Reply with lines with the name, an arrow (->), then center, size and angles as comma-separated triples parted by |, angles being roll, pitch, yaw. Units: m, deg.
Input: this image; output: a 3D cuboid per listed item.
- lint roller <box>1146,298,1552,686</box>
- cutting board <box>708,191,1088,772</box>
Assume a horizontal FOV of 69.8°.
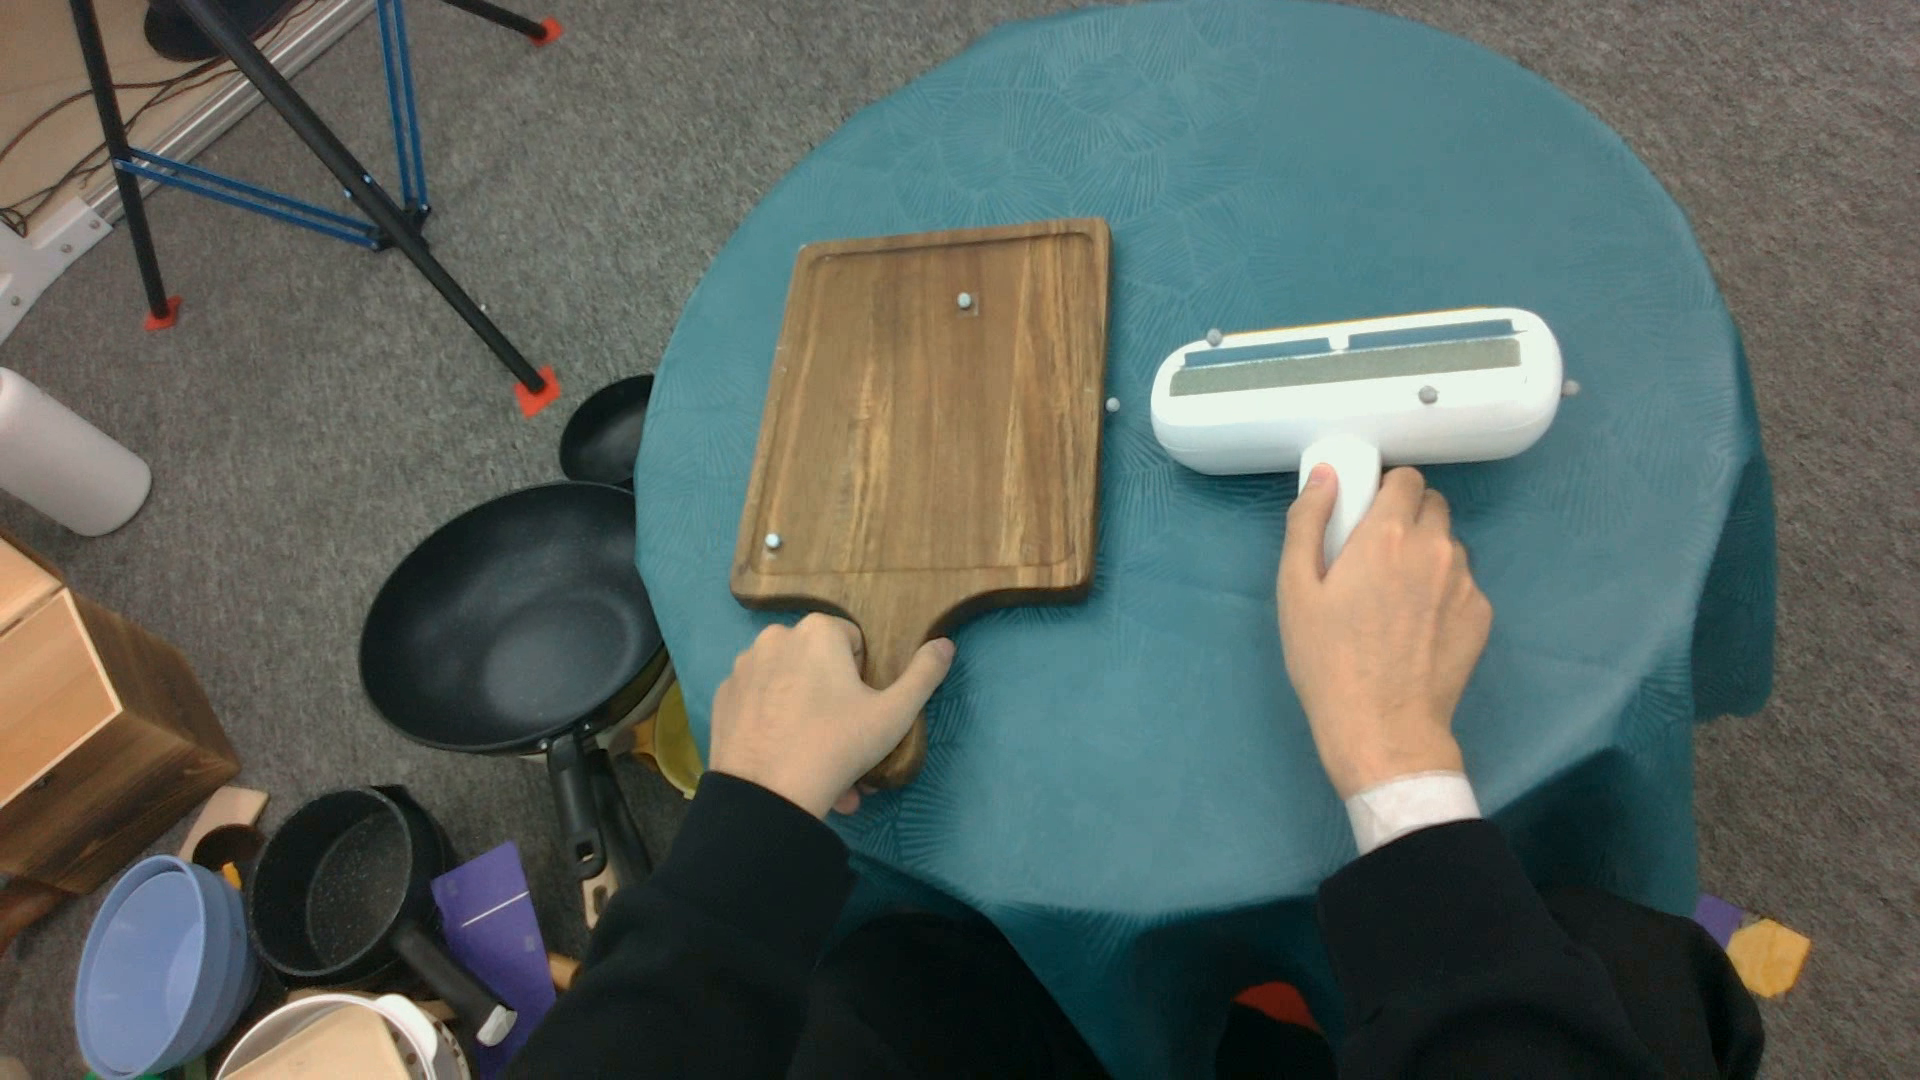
lint roller -> 0.174, -0.027, 0.659 | 0.192, 0.074, 0.193 | 4, 63, 24
cutting board -> -0.032, -0.045, 0.745 | 0.201, 0.023, 0.353 | -3, 60, 13
